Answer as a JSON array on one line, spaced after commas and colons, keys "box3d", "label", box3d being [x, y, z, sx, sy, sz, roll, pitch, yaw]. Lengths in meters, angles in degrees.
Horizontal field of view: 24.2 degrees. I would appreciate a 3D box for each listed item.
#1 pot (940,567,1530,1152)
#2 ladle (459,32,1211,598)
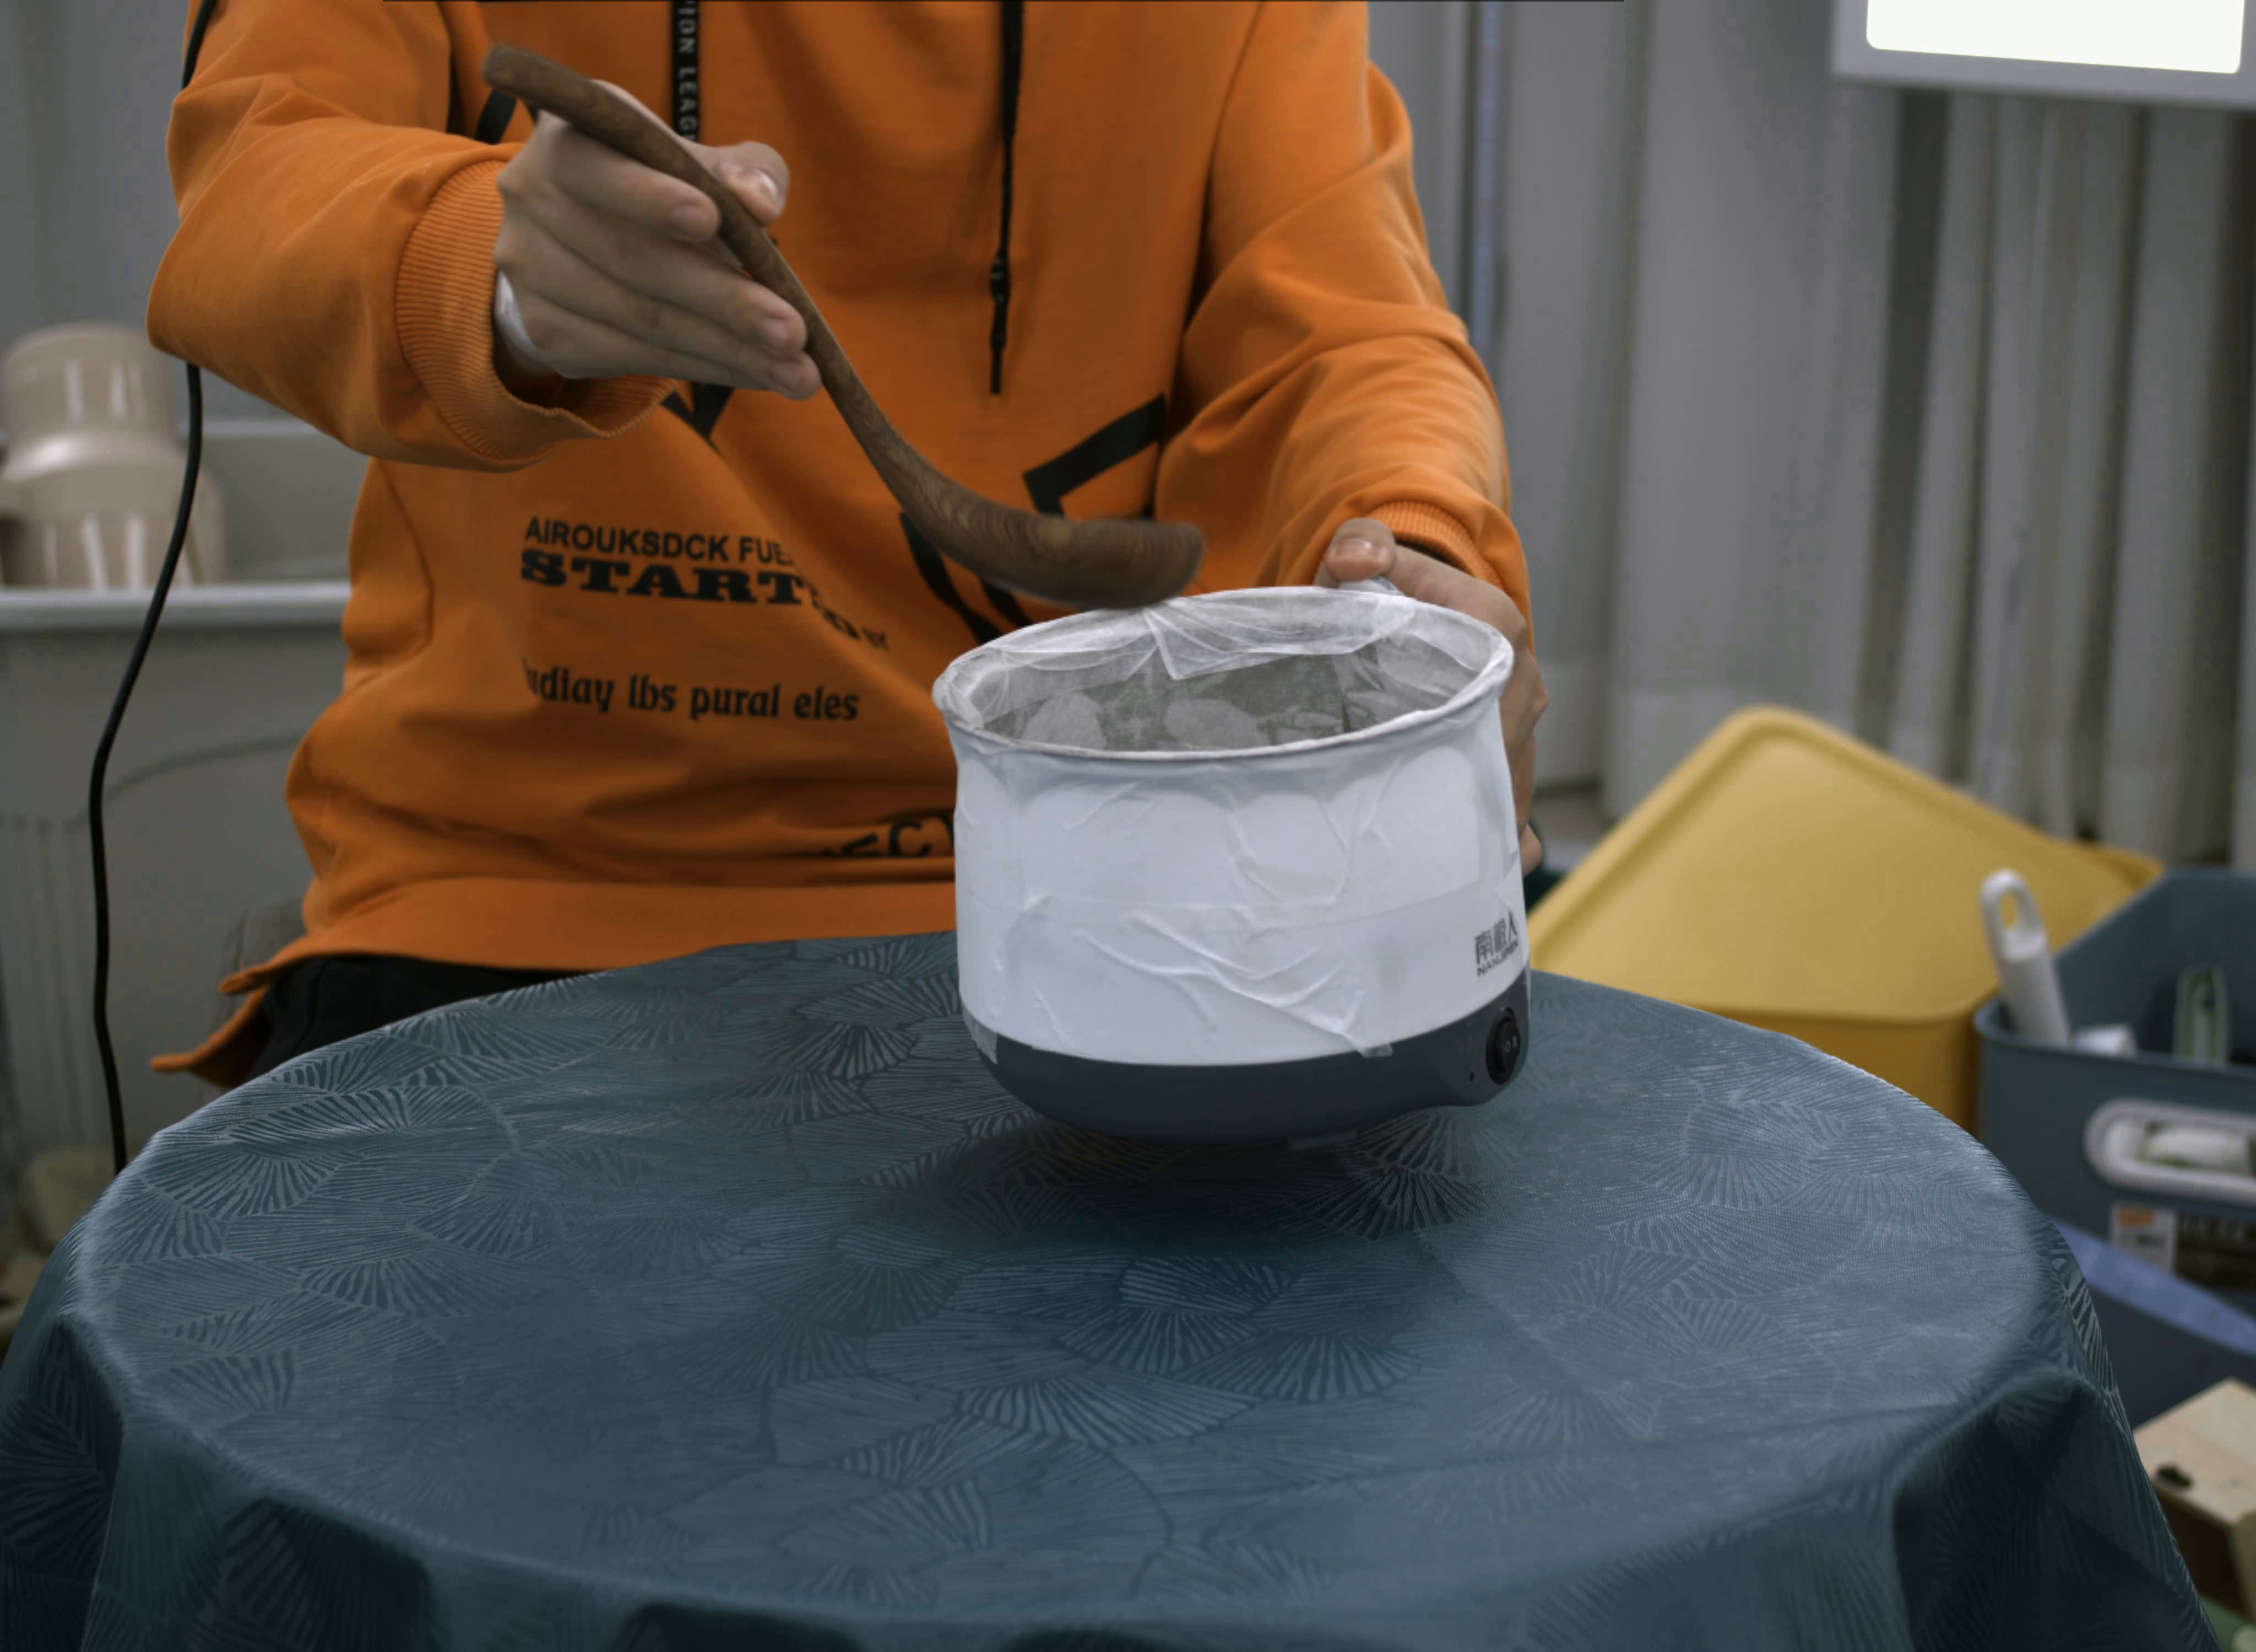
[{"box3d": [0.046, 0.004, 1.638, 0.177, 0.138, 0.234, 6, 20, 25], "label": "pot"}, {"box3d": [-0.082, -0.155, 1.537, 0.065, 0.262, 0.076, -49, 16, -11], "label": "ladle"}]
